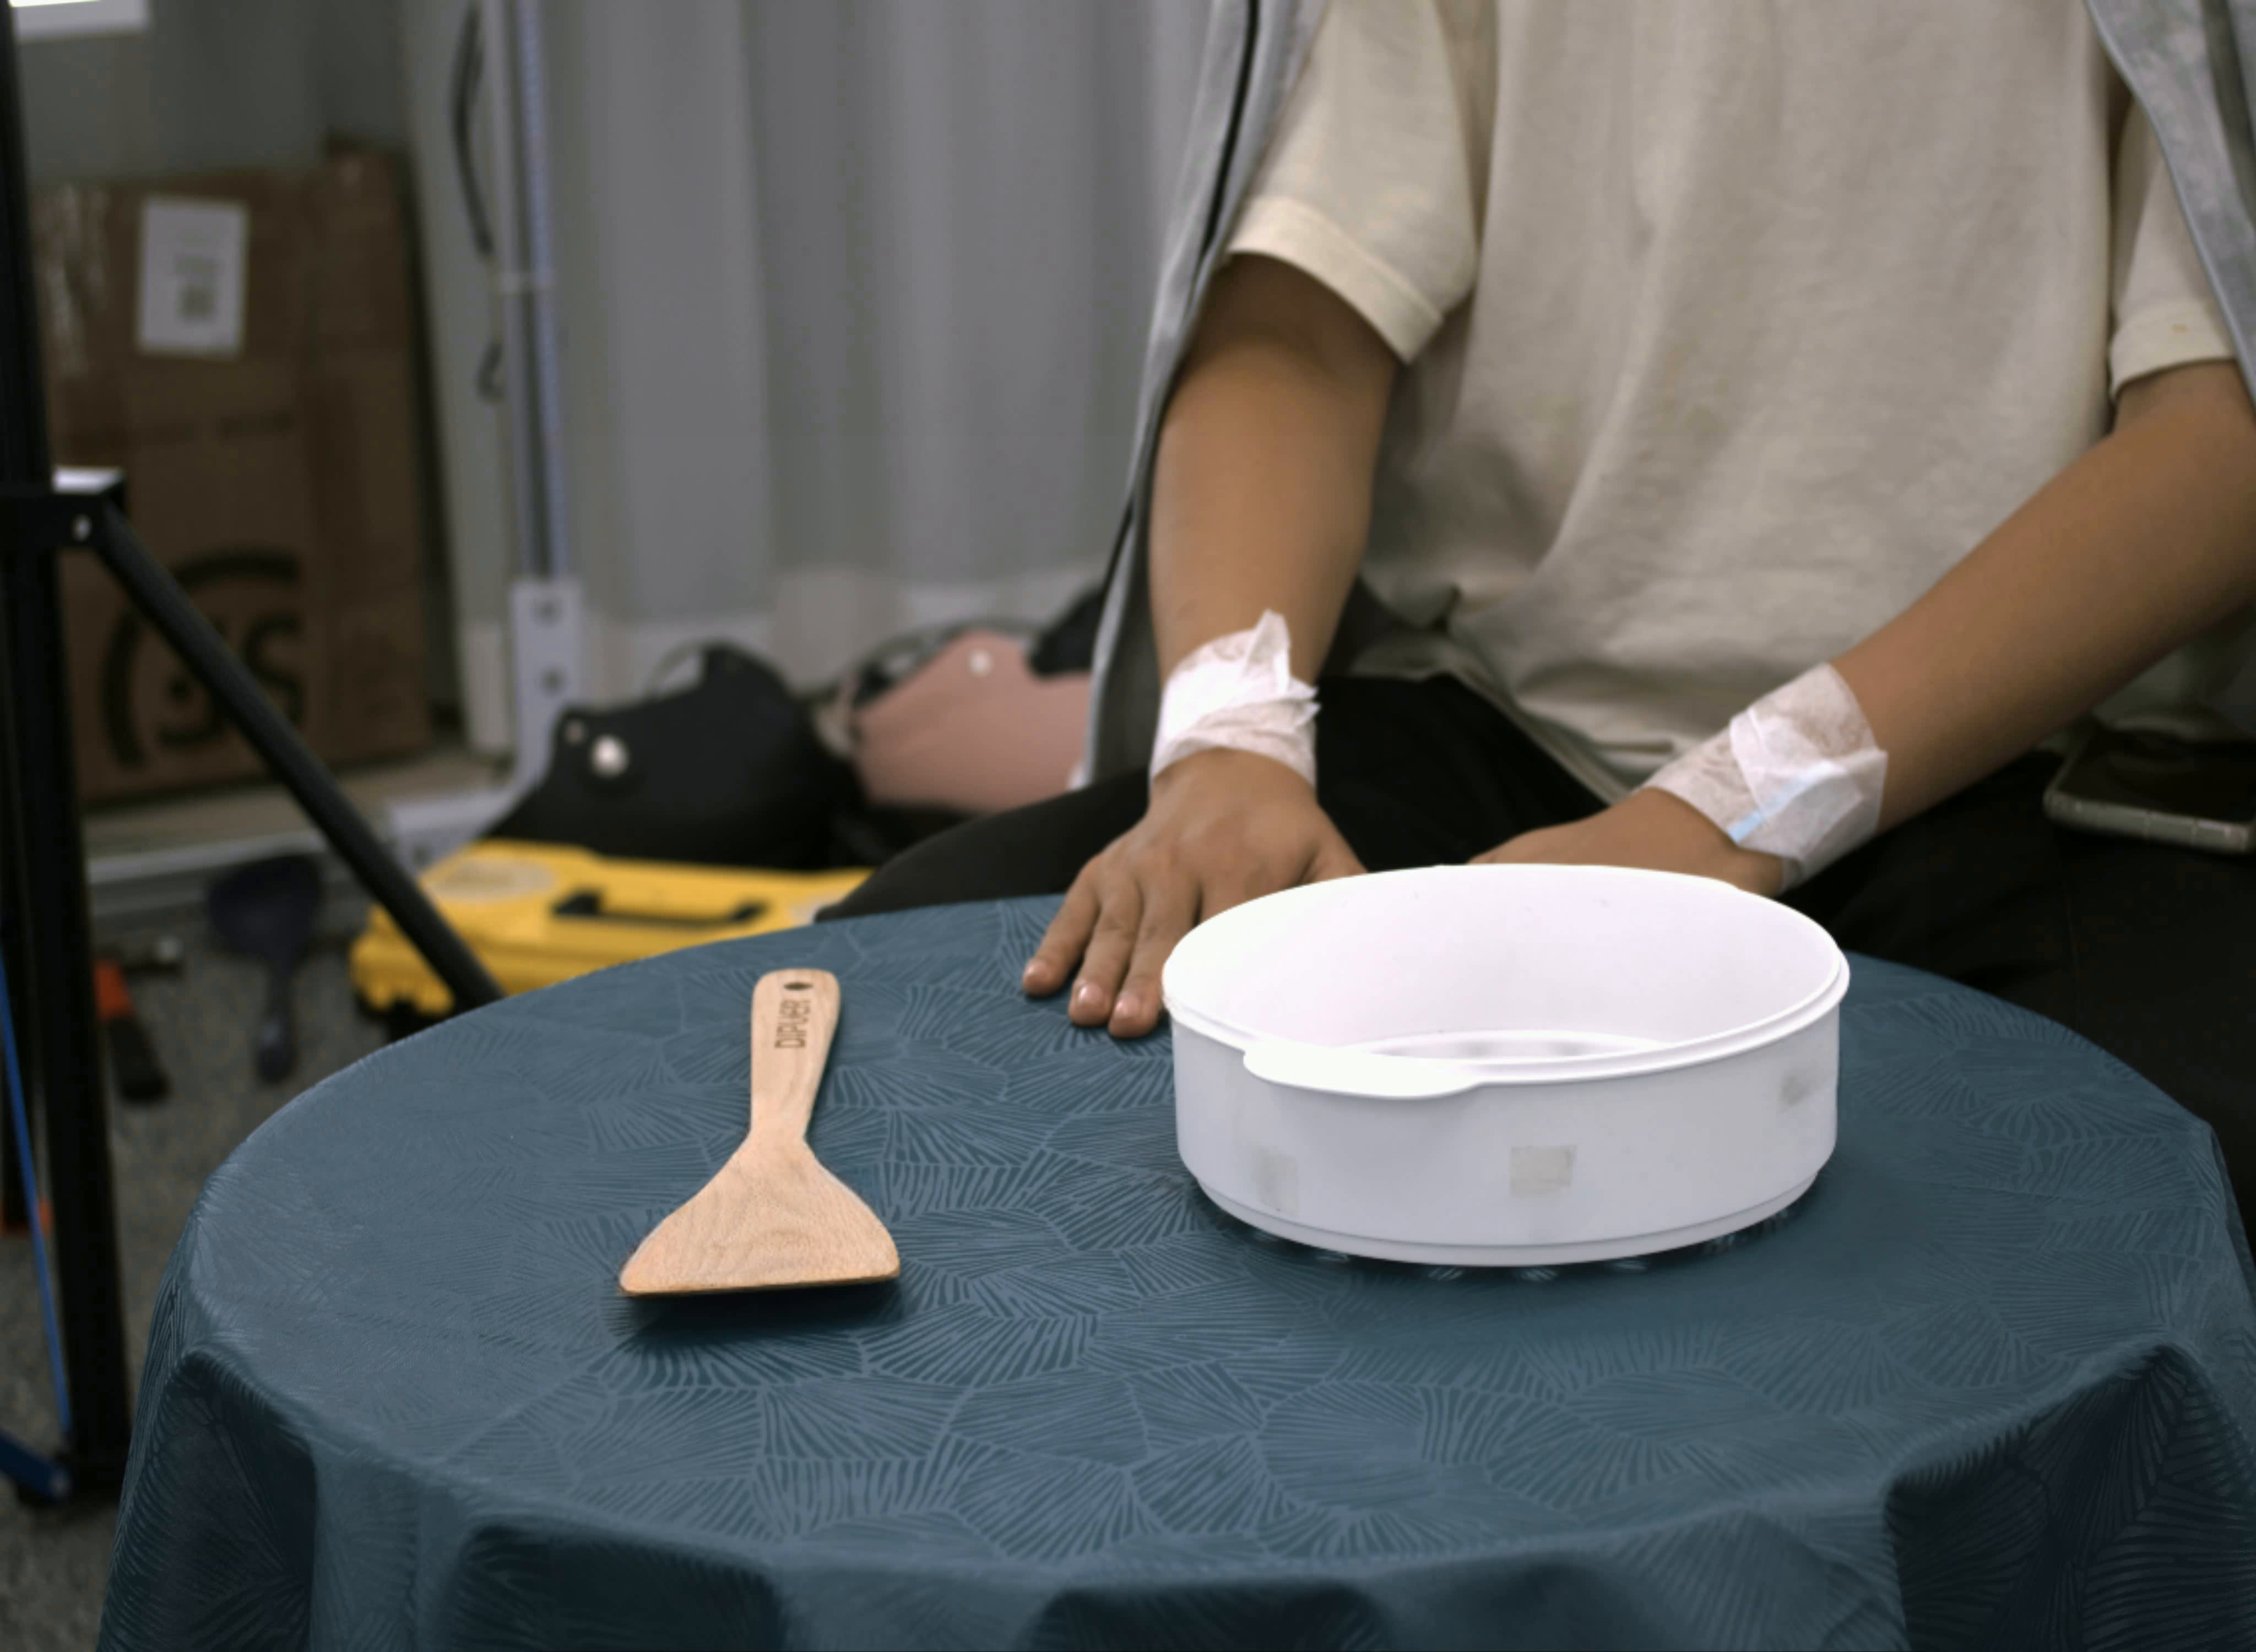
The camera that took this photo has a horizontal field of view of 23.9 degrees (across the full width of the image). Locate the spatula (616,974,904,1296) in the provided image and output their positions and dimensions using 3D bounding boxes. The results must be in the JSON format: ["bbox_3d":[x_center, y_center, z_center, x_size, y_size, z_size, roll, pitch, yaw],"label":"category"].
[{"bbox_3d":[-0.106,0.090,1.605,0.079,0.016,0.329,-2,15,-1],"label":"spatula"}]

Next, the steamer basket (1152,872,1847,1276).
[{"bbox_3d":[0.107,0.072,1.545,0.205,0.069,0.226,8,17,29],"label":"steamer basket"}]
